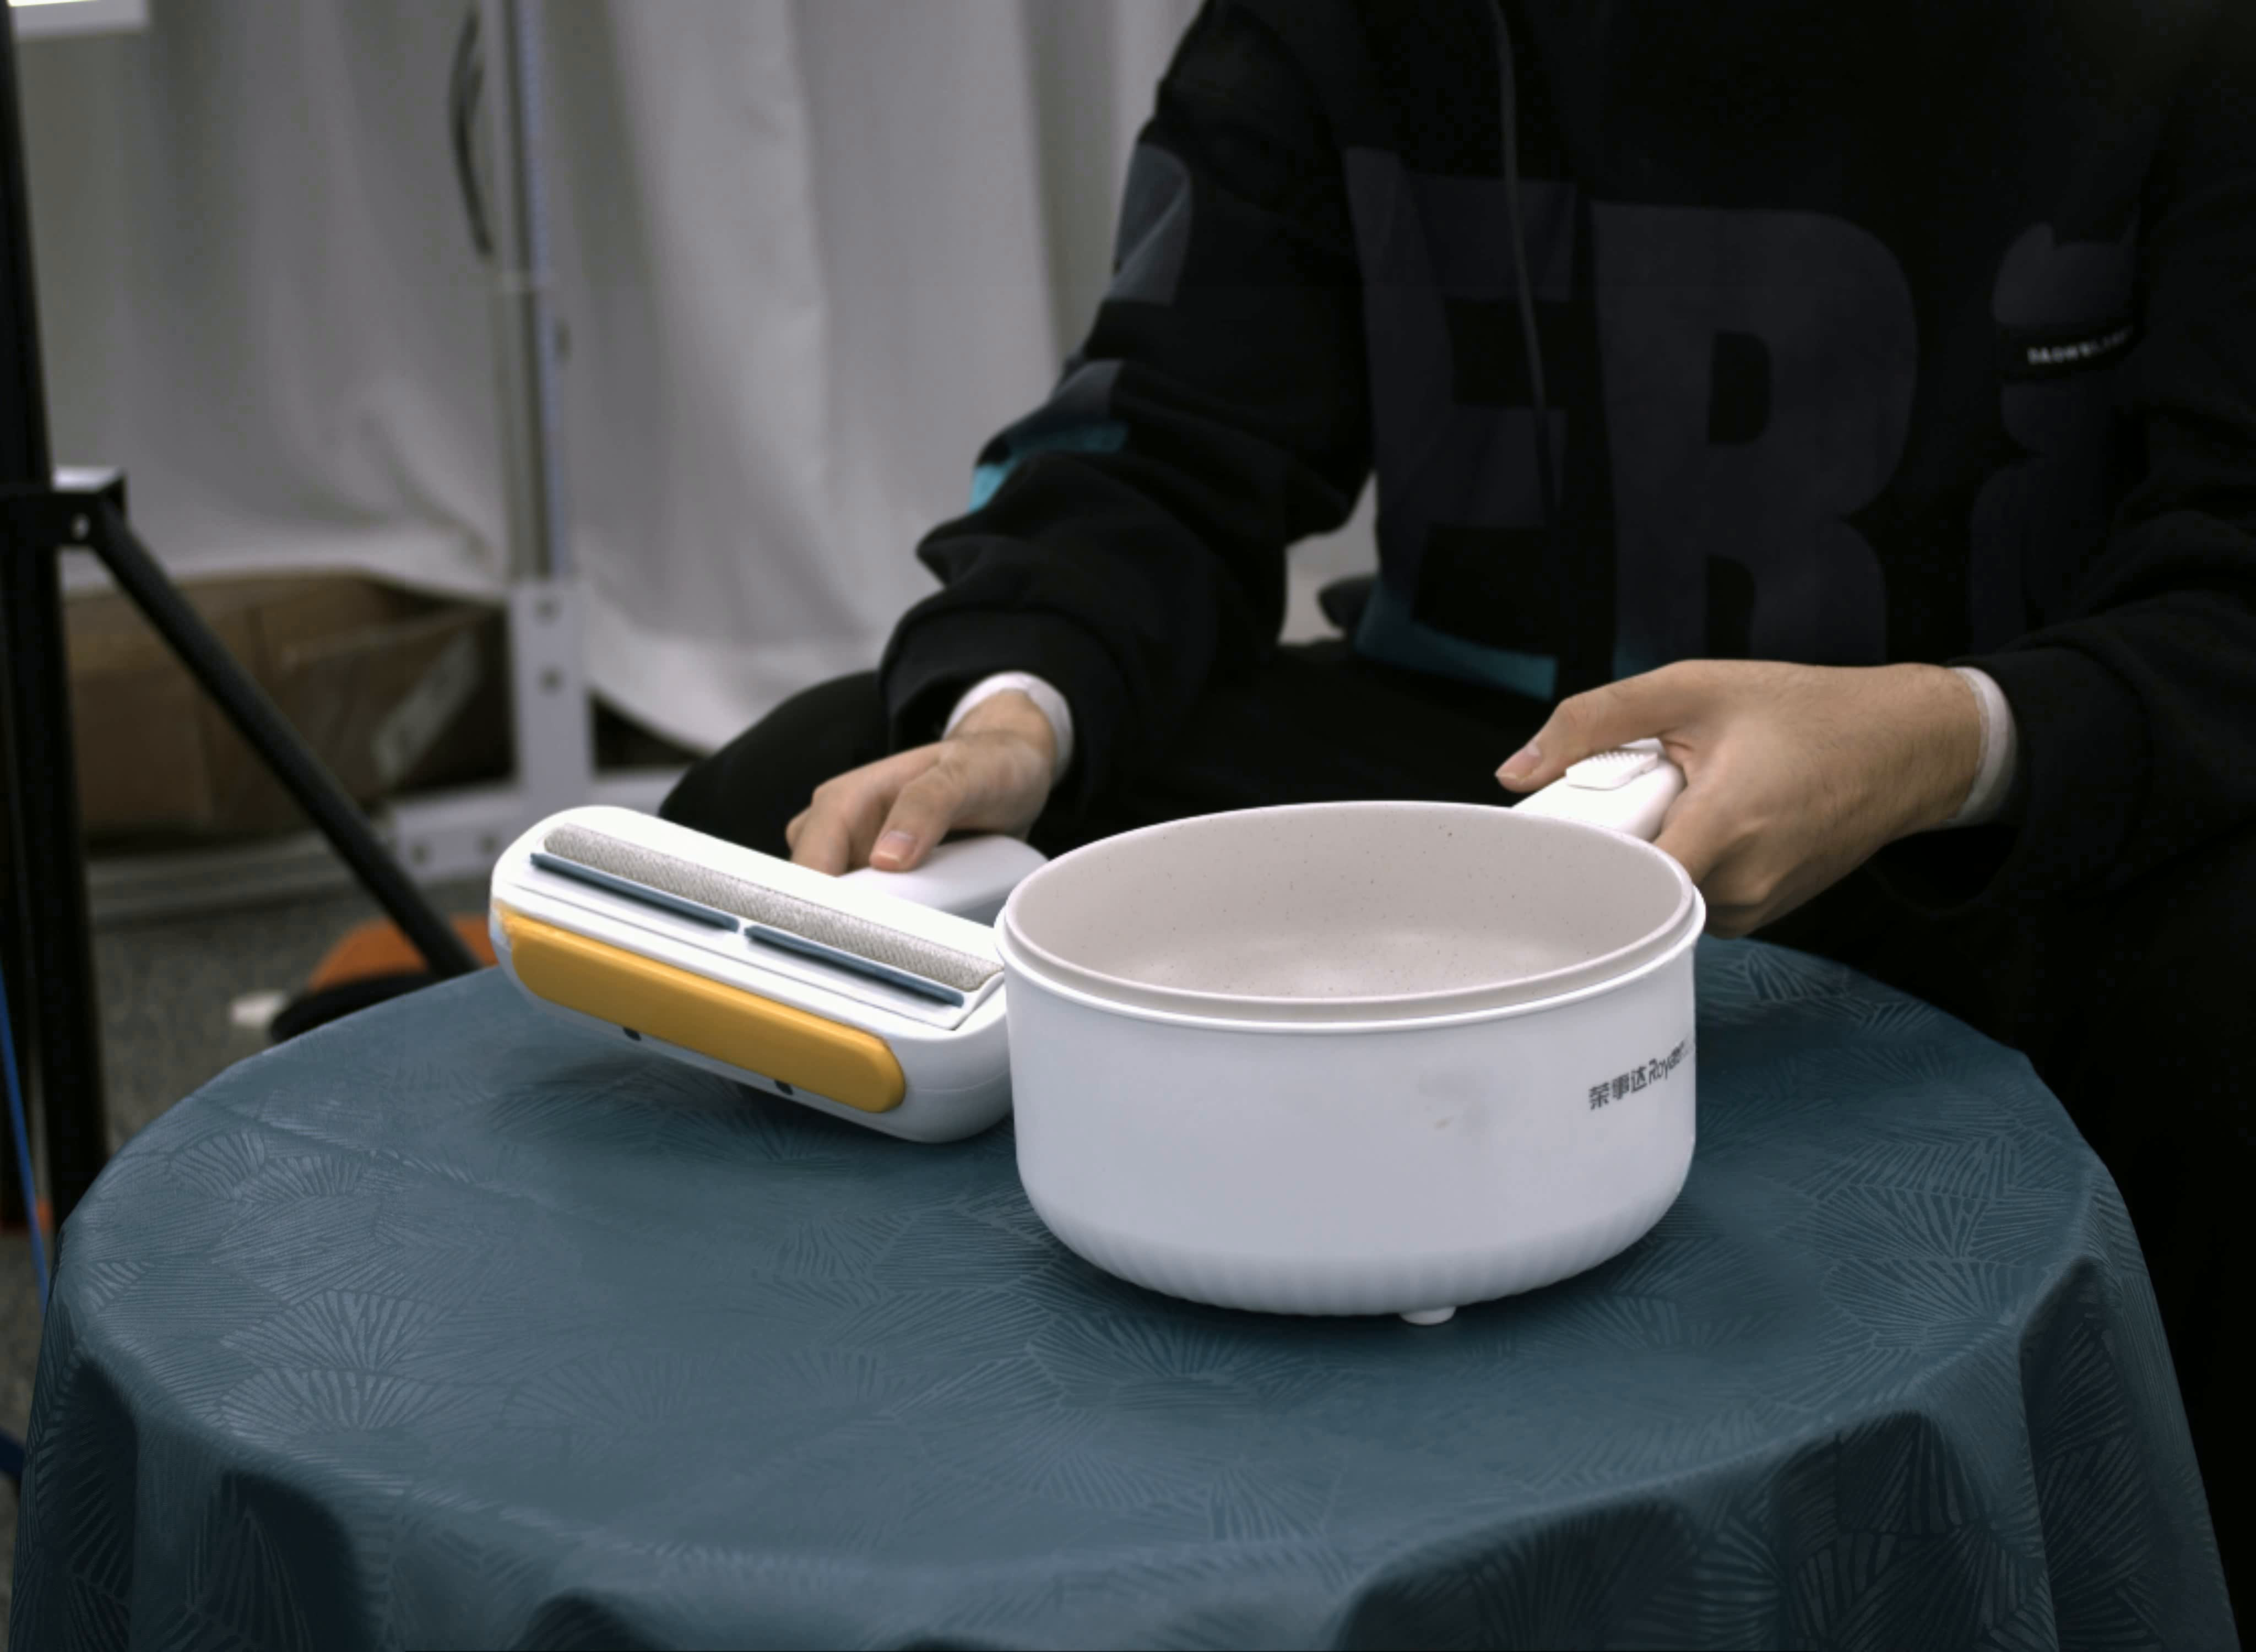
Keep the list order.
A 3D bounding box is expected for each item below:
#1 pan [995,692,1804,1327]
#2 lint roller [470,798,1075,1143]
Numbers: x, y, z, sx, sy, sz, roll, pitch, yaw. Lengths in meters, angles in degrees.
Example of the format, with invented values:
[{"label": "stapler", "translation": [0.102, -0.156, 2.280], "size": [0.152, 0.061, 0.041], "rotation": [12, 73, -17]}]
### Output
[{"label": "pan", "translation": [0.104, 0.048, 1.563], "size": [0.205, 0.102, 0.348], "rotation": [7, 18, 32]}, {"label": "lint roller", "translation": [-0.084, 0.029, 1.698], "size": [0.197, 0.074, 0.189], "rotation": [15, 30, 34]}]
